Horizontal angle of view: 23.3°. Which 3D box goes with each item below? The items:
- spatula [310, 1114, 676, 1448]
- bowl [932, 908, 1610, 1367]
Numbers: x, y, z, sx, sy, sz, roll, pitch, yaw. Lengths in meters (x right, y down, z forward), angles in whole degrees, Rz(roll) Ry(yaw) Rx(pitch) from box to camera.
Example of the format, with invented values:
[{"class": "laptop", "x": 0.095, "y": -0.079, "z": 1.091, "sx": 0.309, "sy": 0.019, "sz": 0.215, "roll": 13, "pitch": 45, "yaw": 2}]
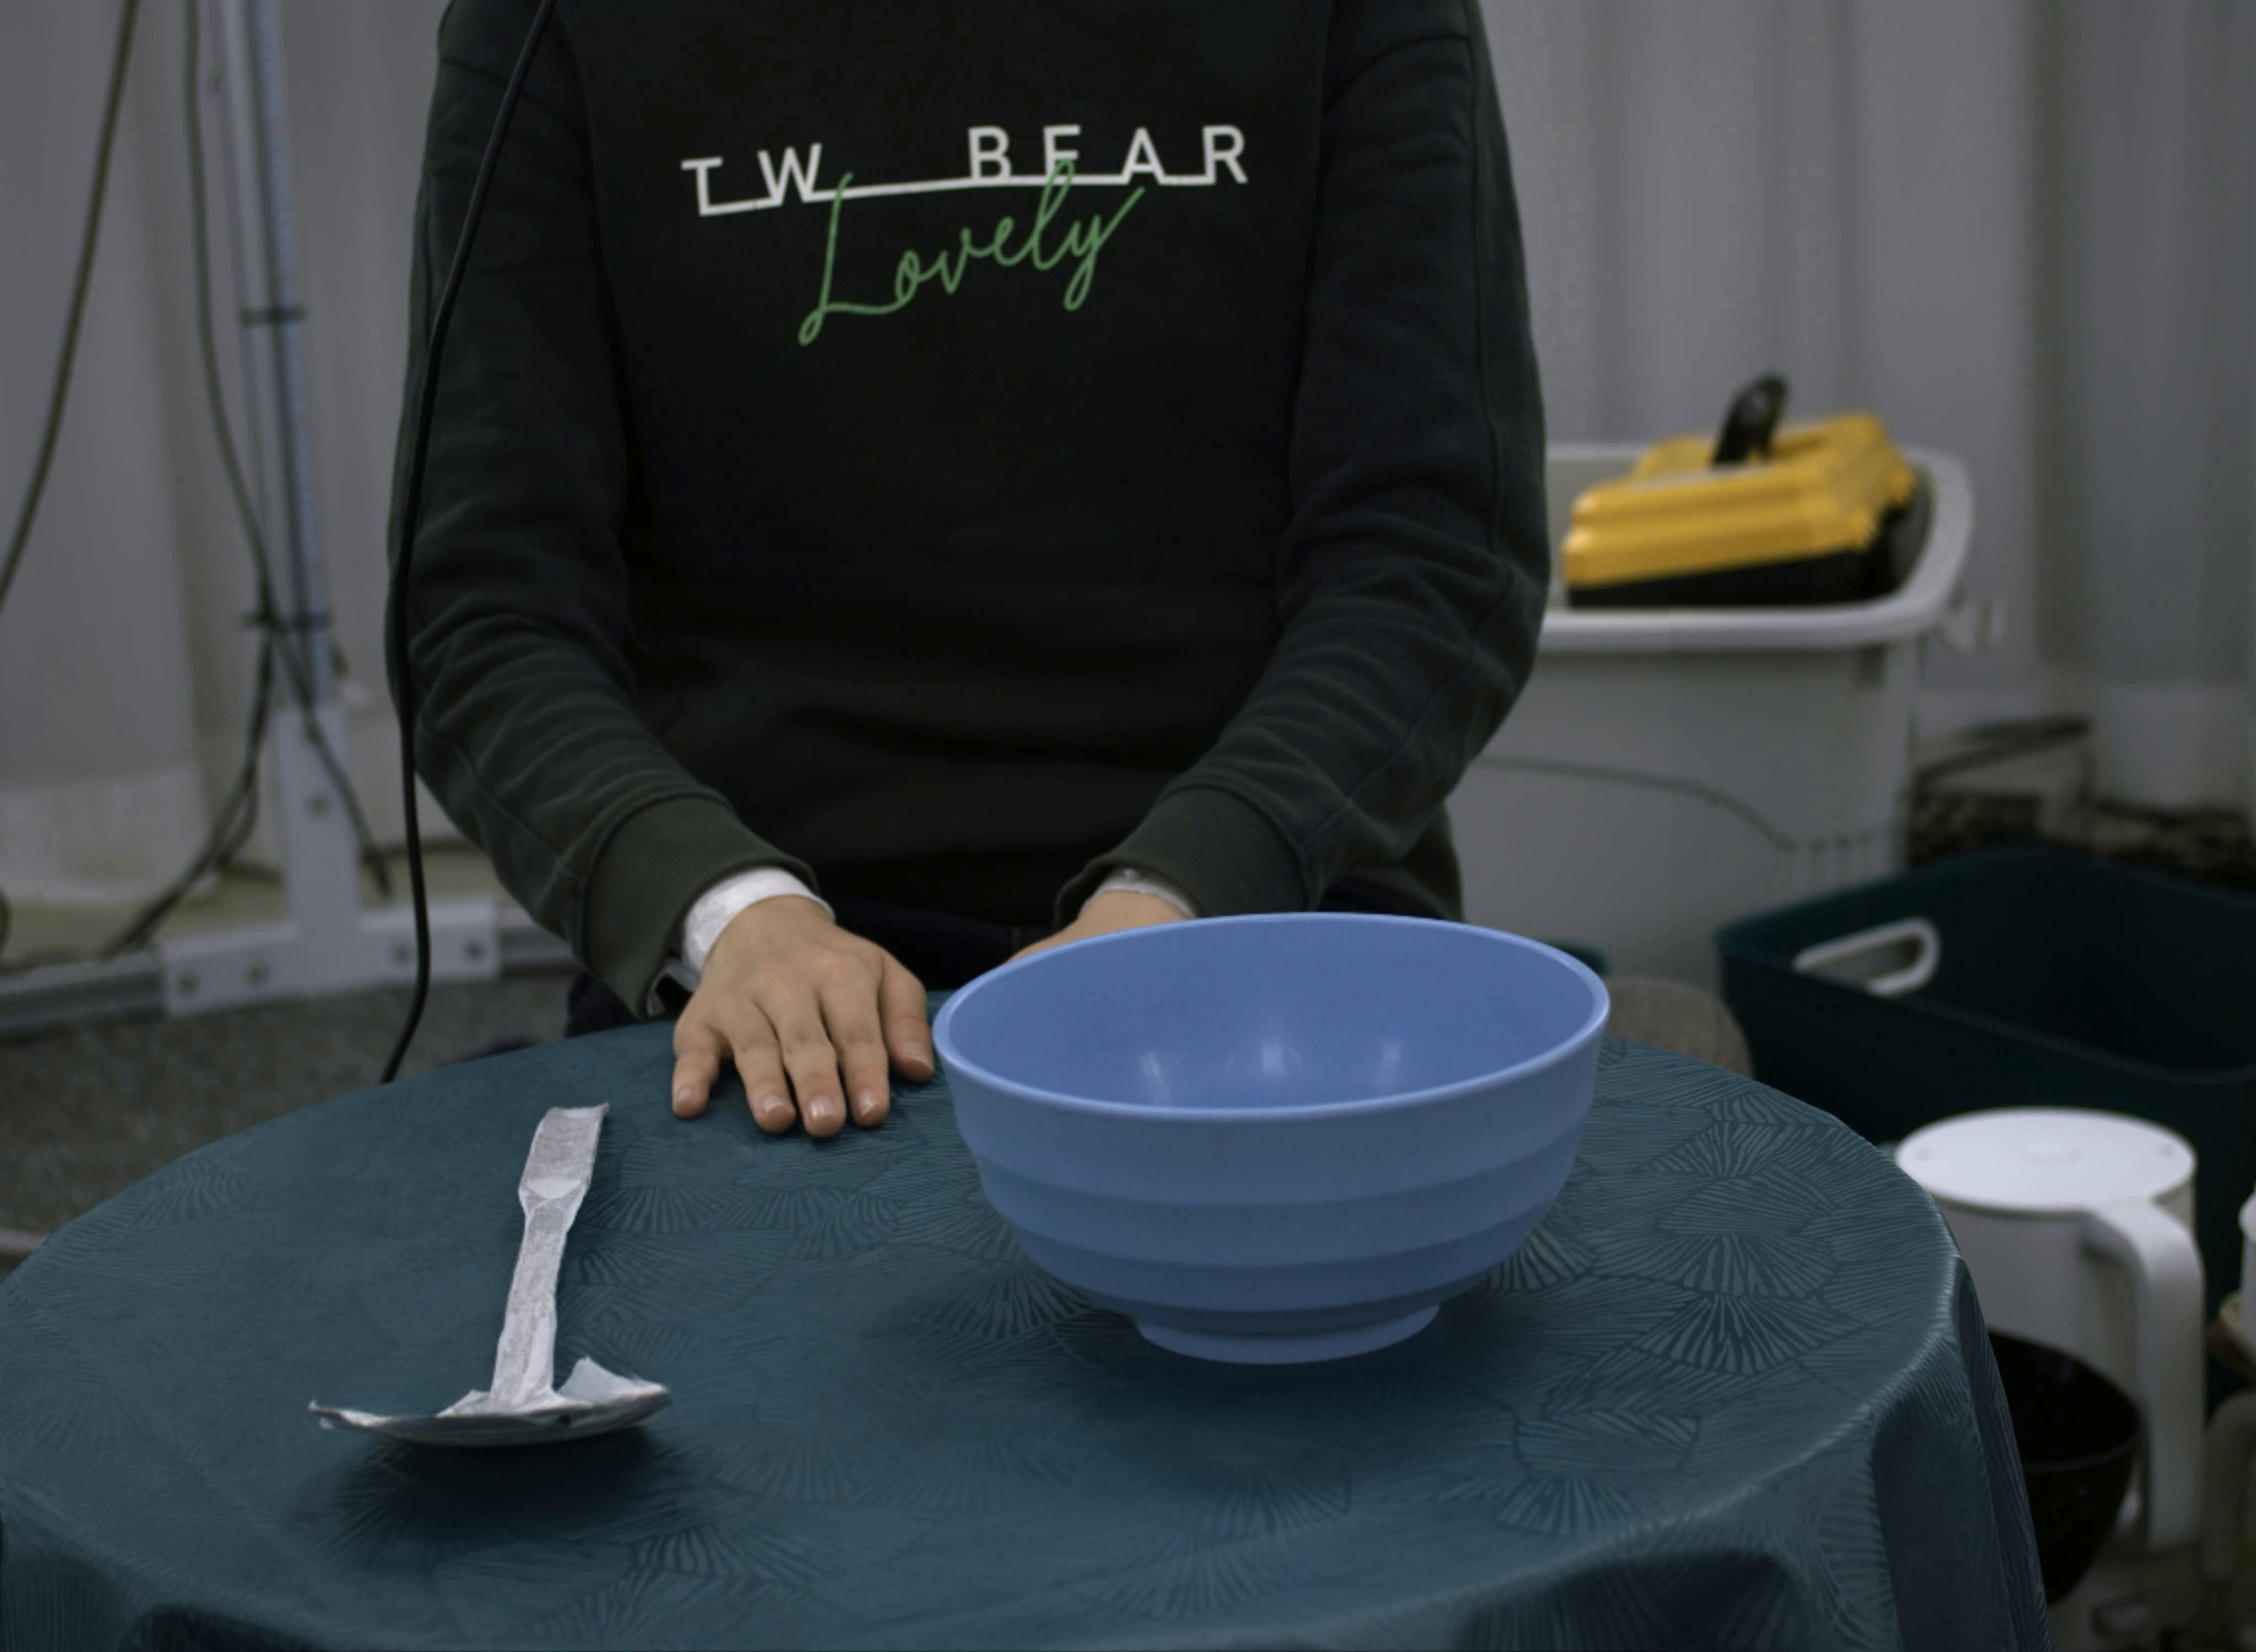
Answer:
[{"class": "spatula", "x": -0.172, "y": 0.126, "z": 1.628, "sx": 0.098, "sy": 0.044, "sz": 0.367, "roll": -4, "pitch": 15, "yaw": 1}, {"class": "bowl", "x": 0.044, "y": 0.097, "z": 1.590, "sx": 0.196, "sy": 0.095, "sz": 0.198, "roll": -4, "pitch": 16, "yaw": 1}]
